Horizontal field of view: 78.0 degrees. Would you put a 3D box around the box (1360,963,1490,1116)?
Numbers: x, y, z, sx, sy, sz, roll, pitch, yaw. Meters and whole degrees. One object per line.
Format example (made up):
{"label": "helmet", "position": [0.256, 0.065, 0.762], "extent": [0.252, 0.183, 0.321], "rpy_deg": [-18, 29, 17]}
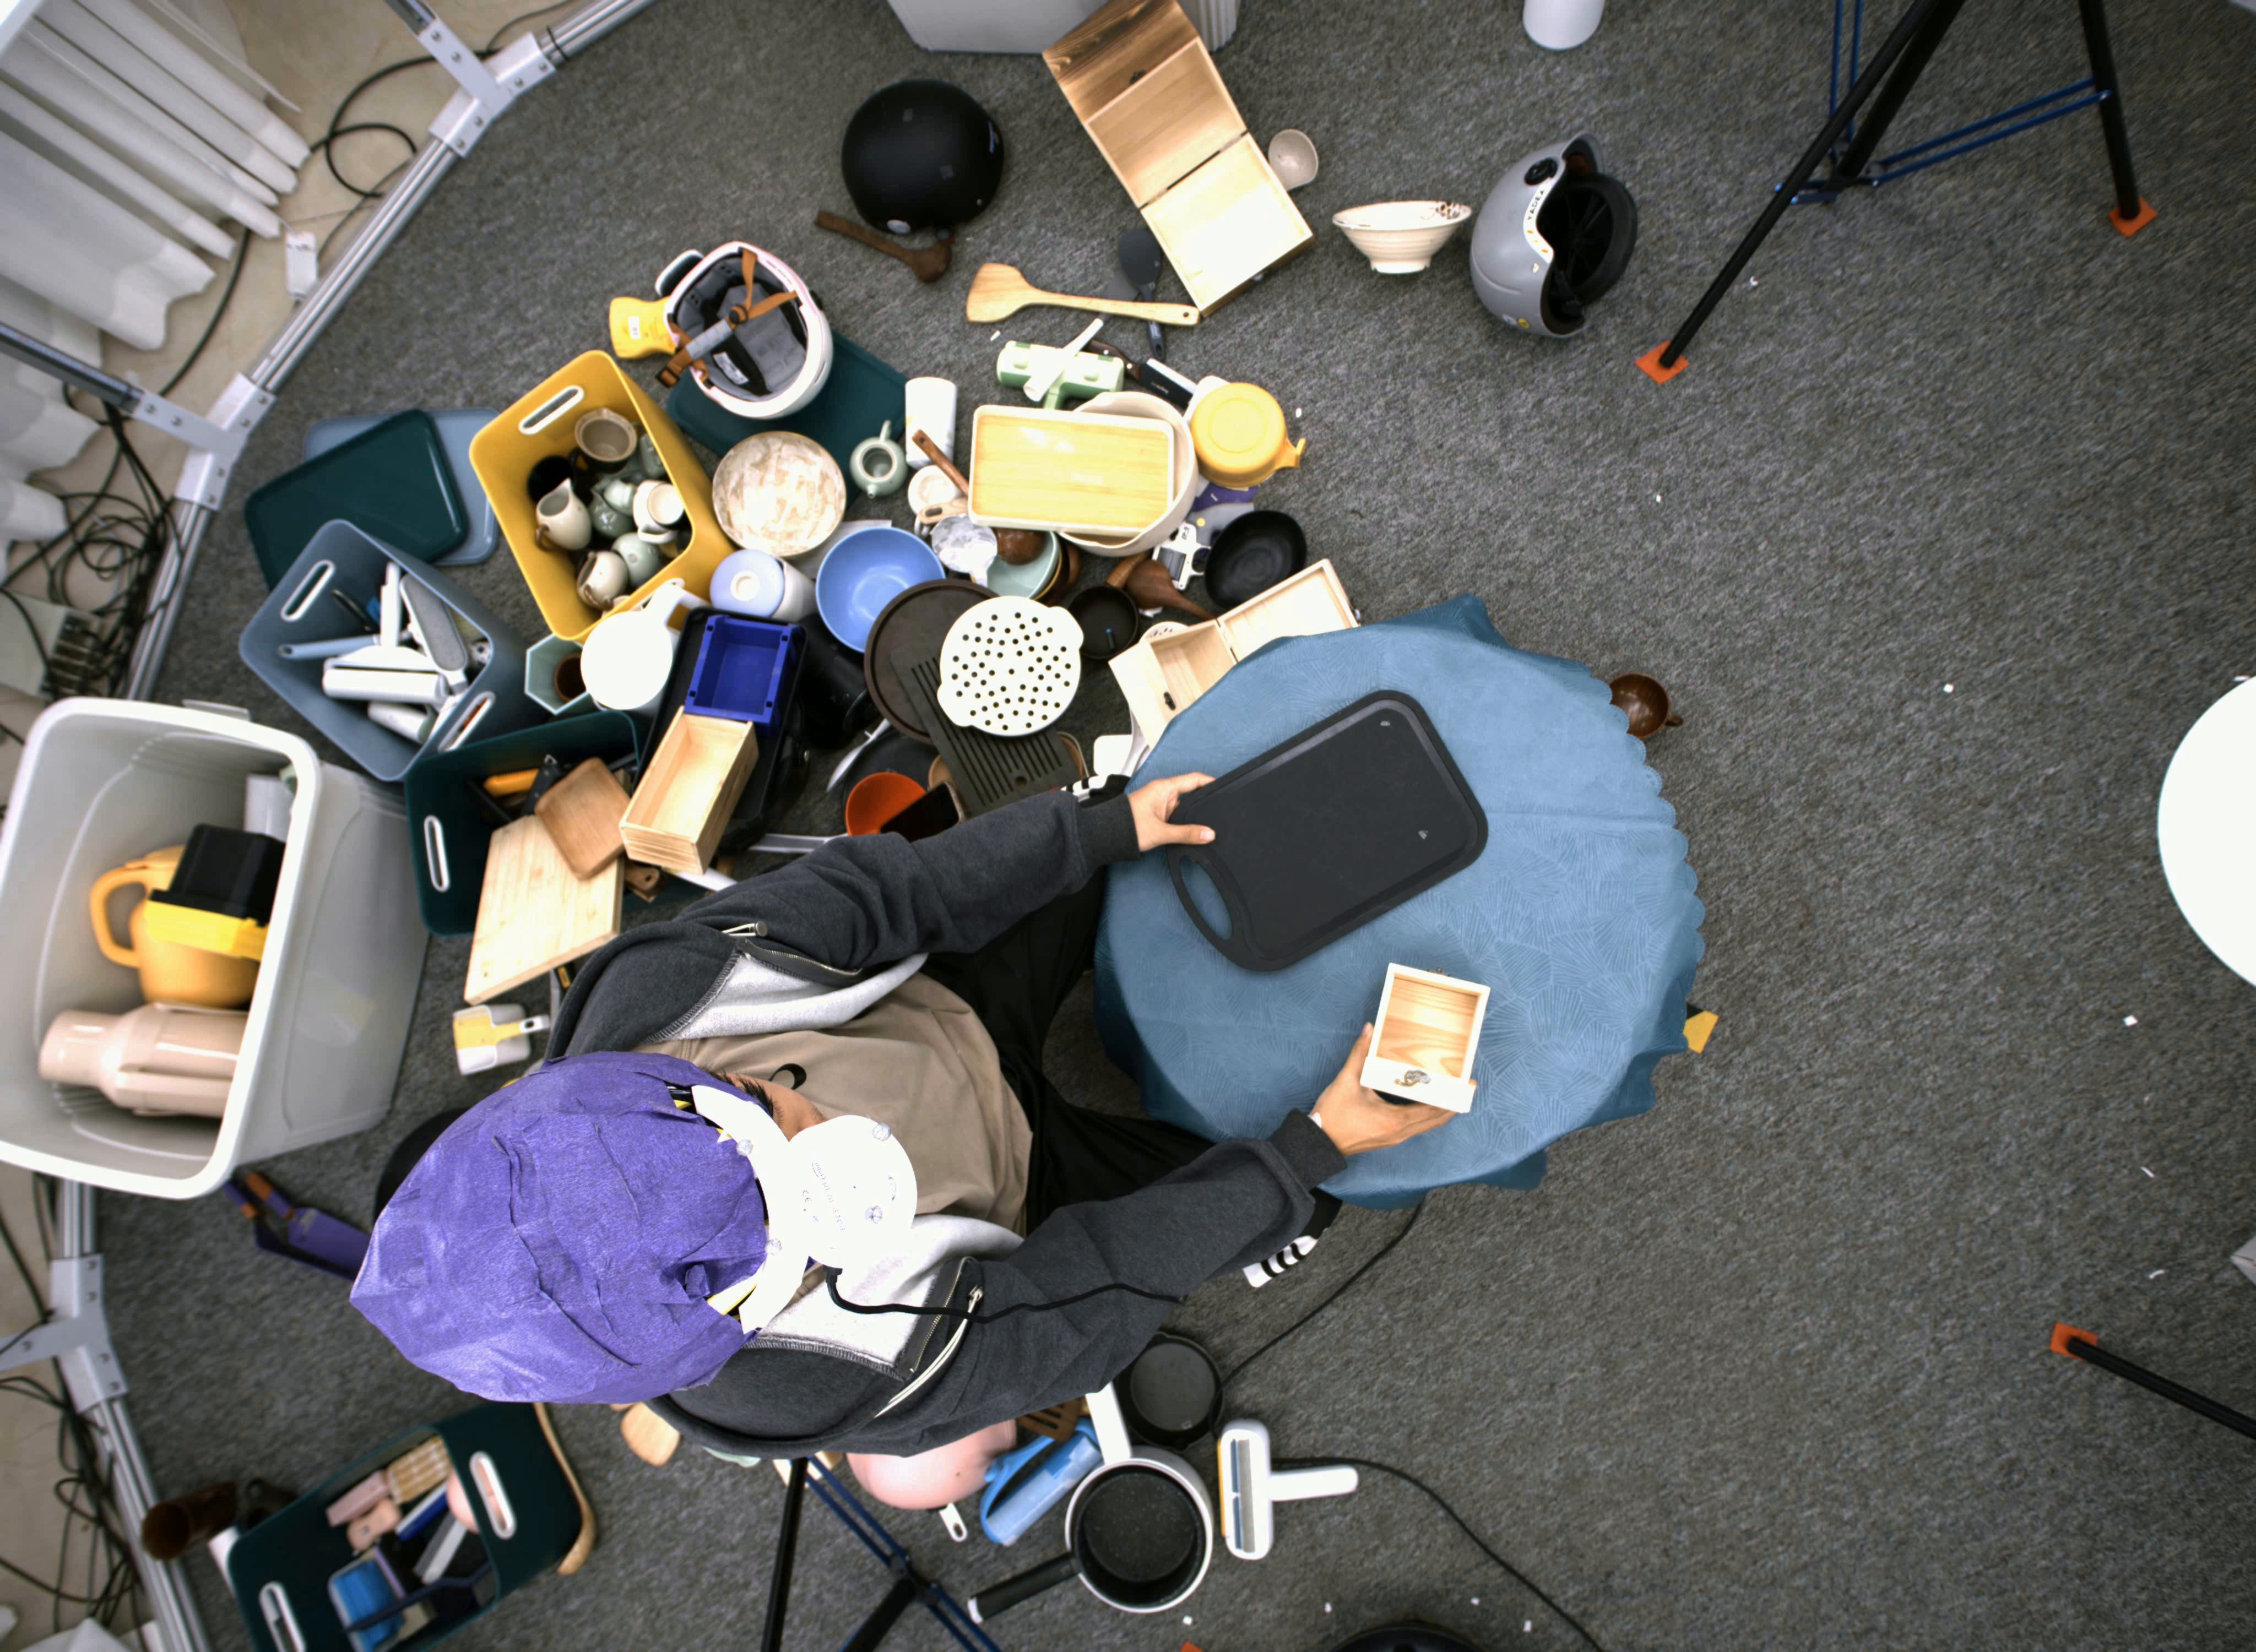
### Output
{"label": "box", "position": [0.292, 0.201, 1.348], "extent": [0.103, 0.185, 0.133], "rpy_deg": [13, 86, 13]}

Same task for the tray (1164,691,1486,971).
{"label": "tray", "position": [0.201, 0.009, 1.455], "extent": [0.326, 0.010, 0.210], "rpy_deg": [-29, 87, 3]}
